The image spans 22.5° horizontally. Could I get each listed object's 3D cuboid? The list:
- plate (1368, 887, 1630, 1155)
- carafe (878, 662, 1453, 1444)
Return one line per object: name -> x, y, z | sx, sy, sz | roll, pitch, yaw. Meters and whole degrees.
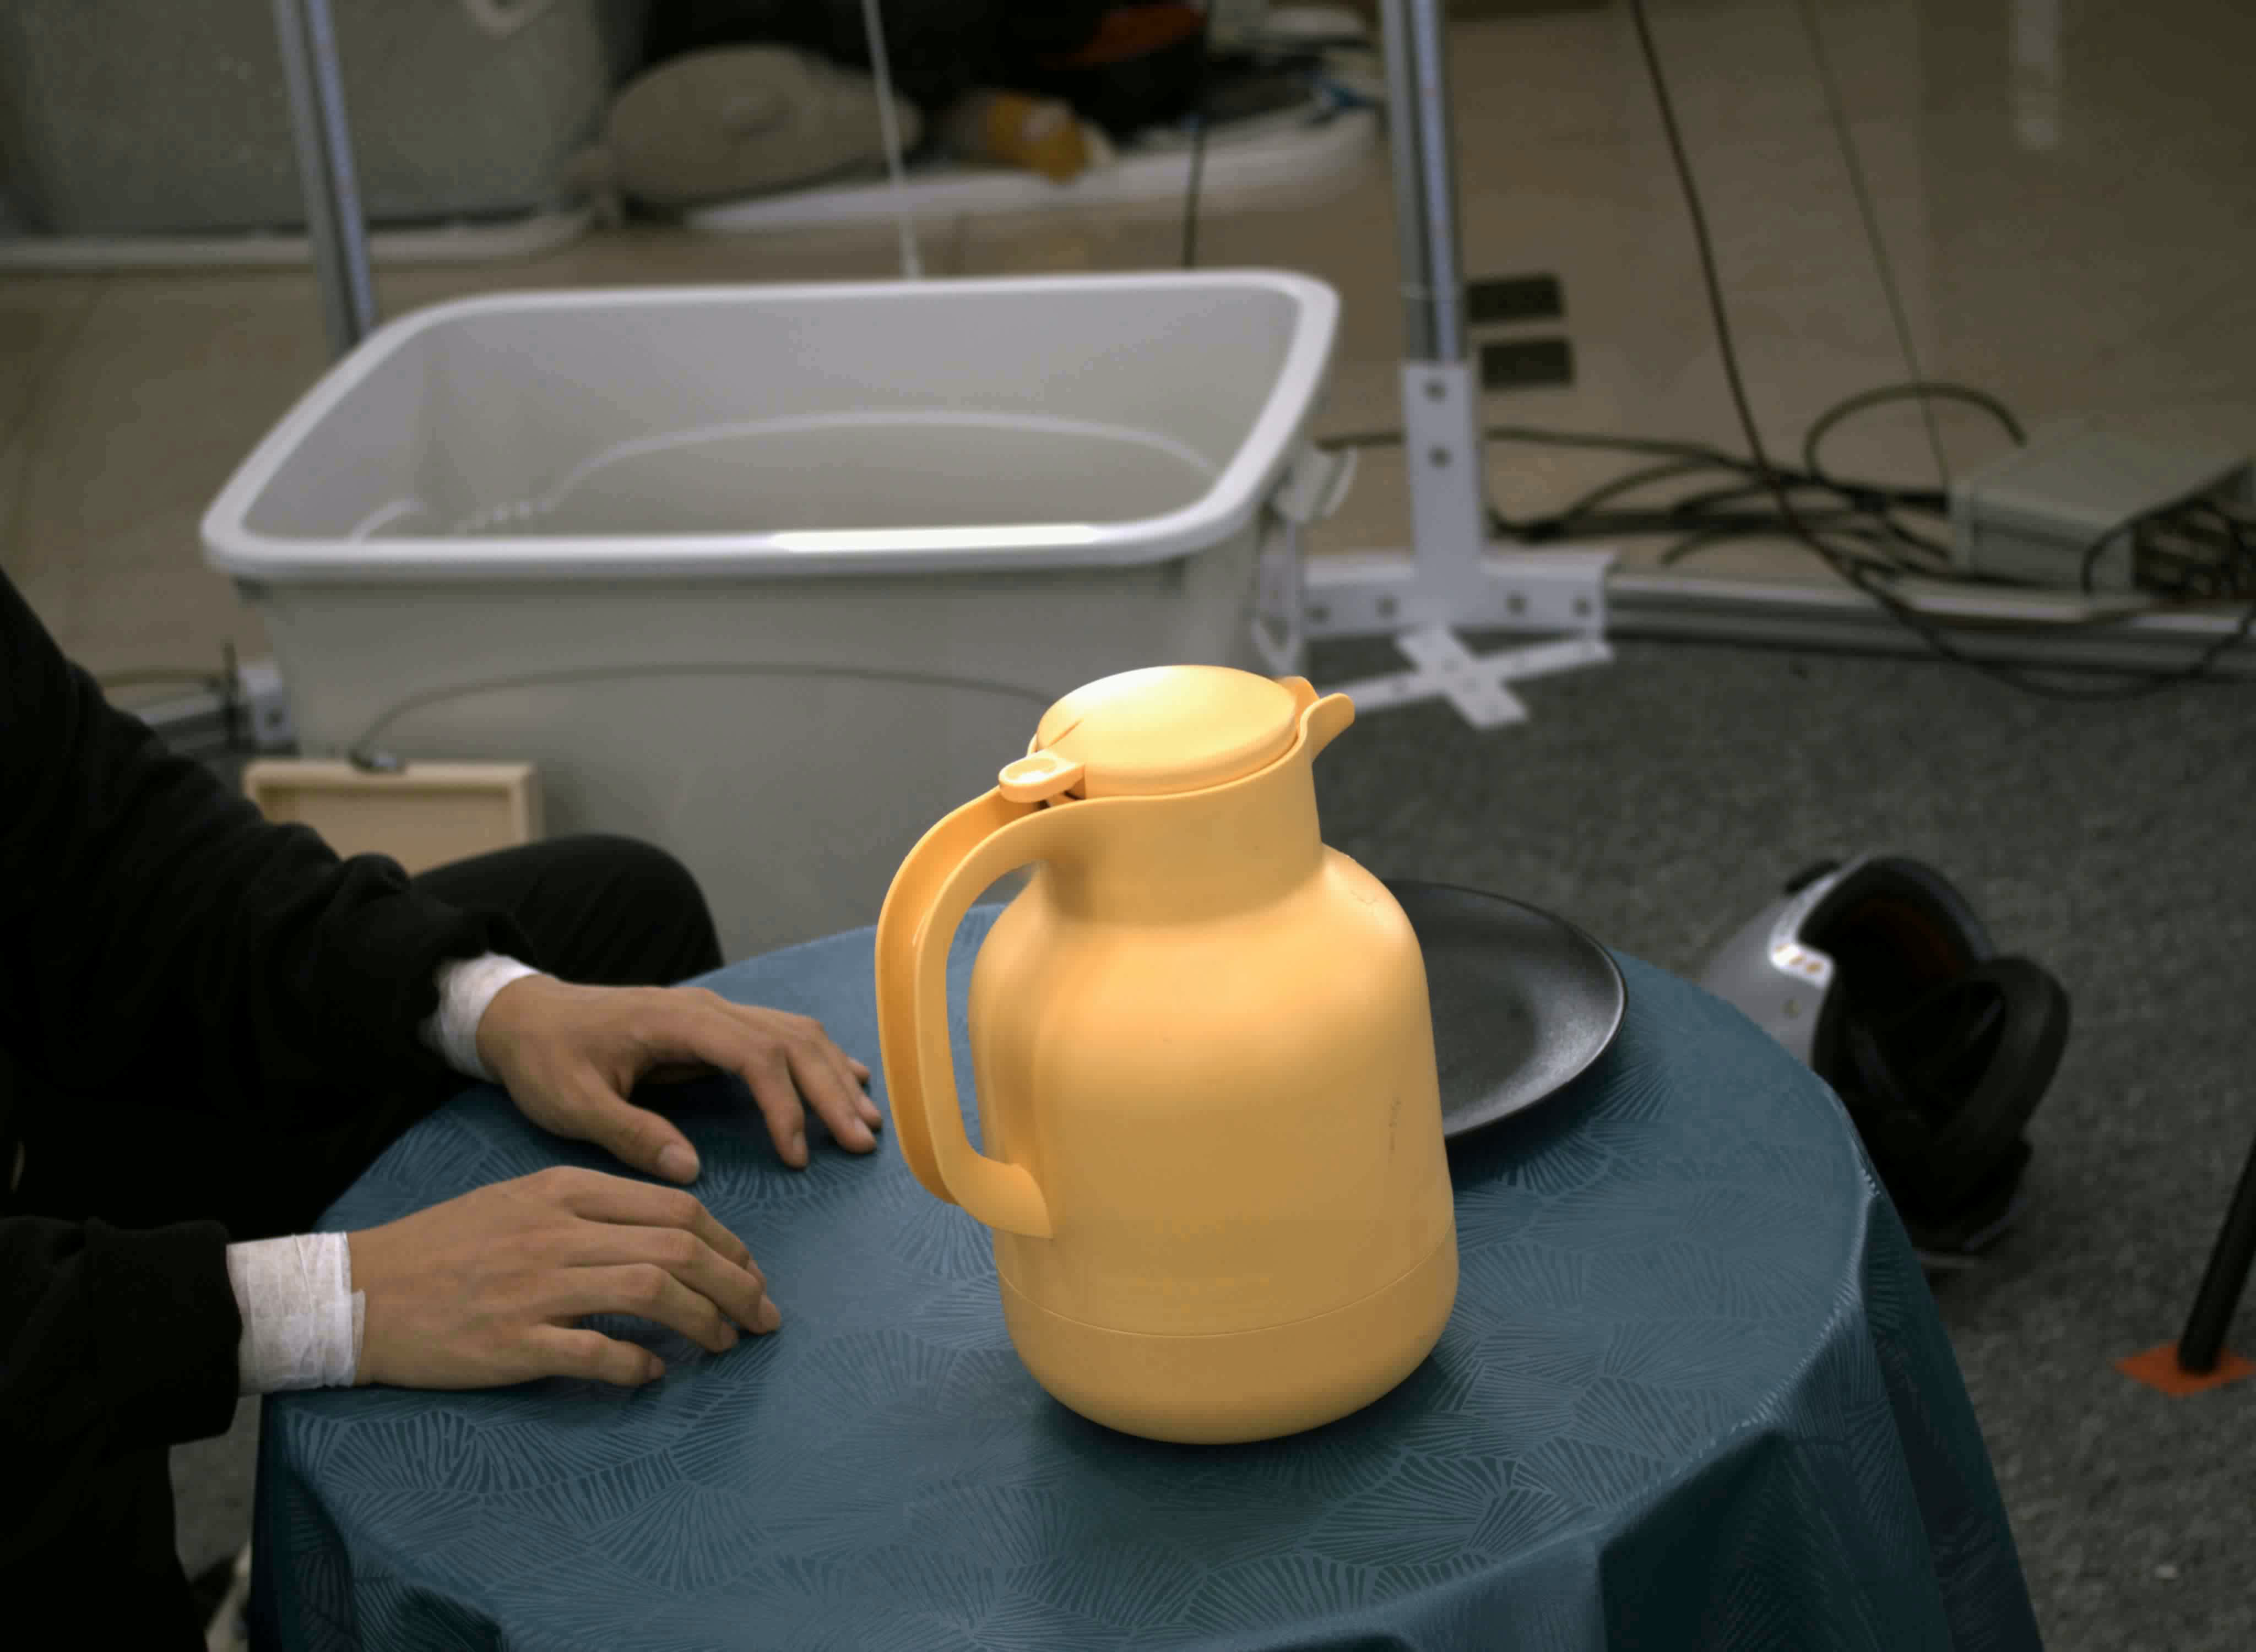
plate -> 0.075, 0.084, 2.221 | 0.244, 0.024, 0.241 | -5, 25, 2
carafe -> 0.009, 0.079, 1.961 | 0.201, 0.264, 0.162 | -19, 26, -28
